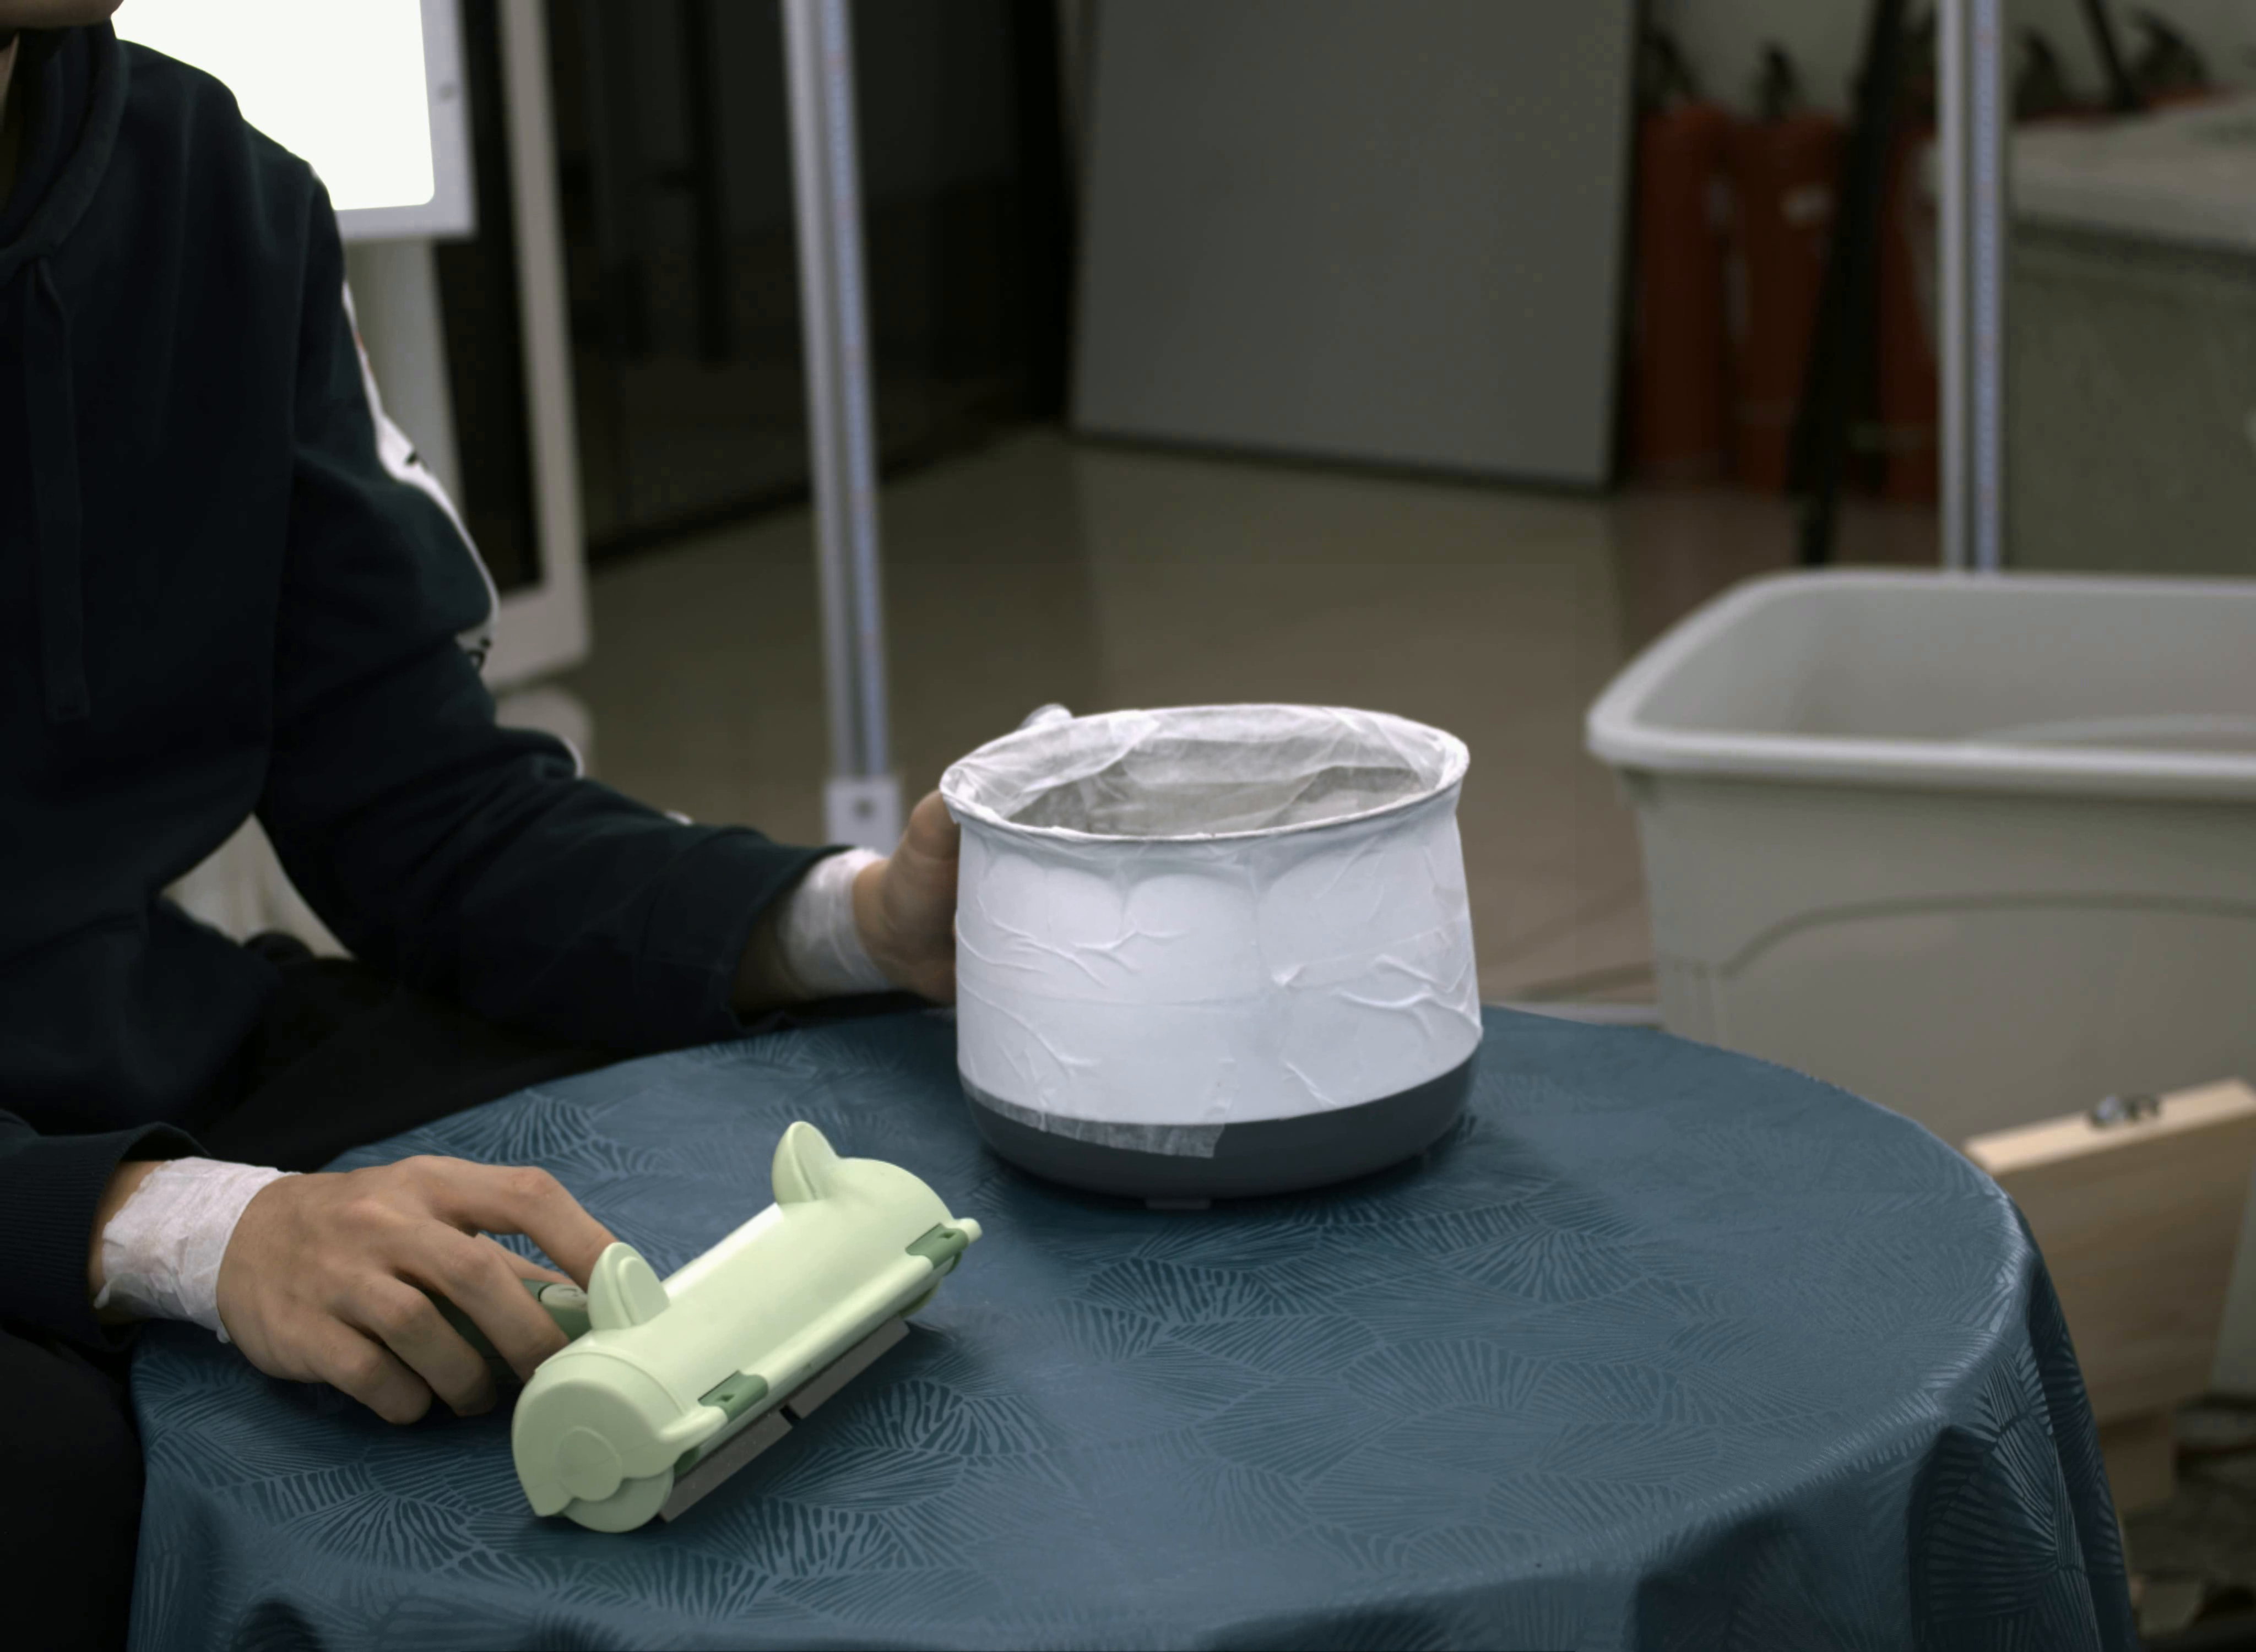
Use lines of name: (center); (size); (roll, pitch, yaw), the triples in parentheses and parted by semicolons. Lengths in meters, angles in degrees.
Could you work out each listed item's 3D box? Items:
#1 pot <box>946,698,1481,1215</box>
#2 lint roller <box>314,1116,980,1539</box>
pot: (0.015, 0.037, 1.819); (0.175, 0.138, 0.236); (-11, 16, -30)
lint roller: (-0.162, 0.136, 1.600); (0.183, 0.083, 0.196); (8, 18, 23)
